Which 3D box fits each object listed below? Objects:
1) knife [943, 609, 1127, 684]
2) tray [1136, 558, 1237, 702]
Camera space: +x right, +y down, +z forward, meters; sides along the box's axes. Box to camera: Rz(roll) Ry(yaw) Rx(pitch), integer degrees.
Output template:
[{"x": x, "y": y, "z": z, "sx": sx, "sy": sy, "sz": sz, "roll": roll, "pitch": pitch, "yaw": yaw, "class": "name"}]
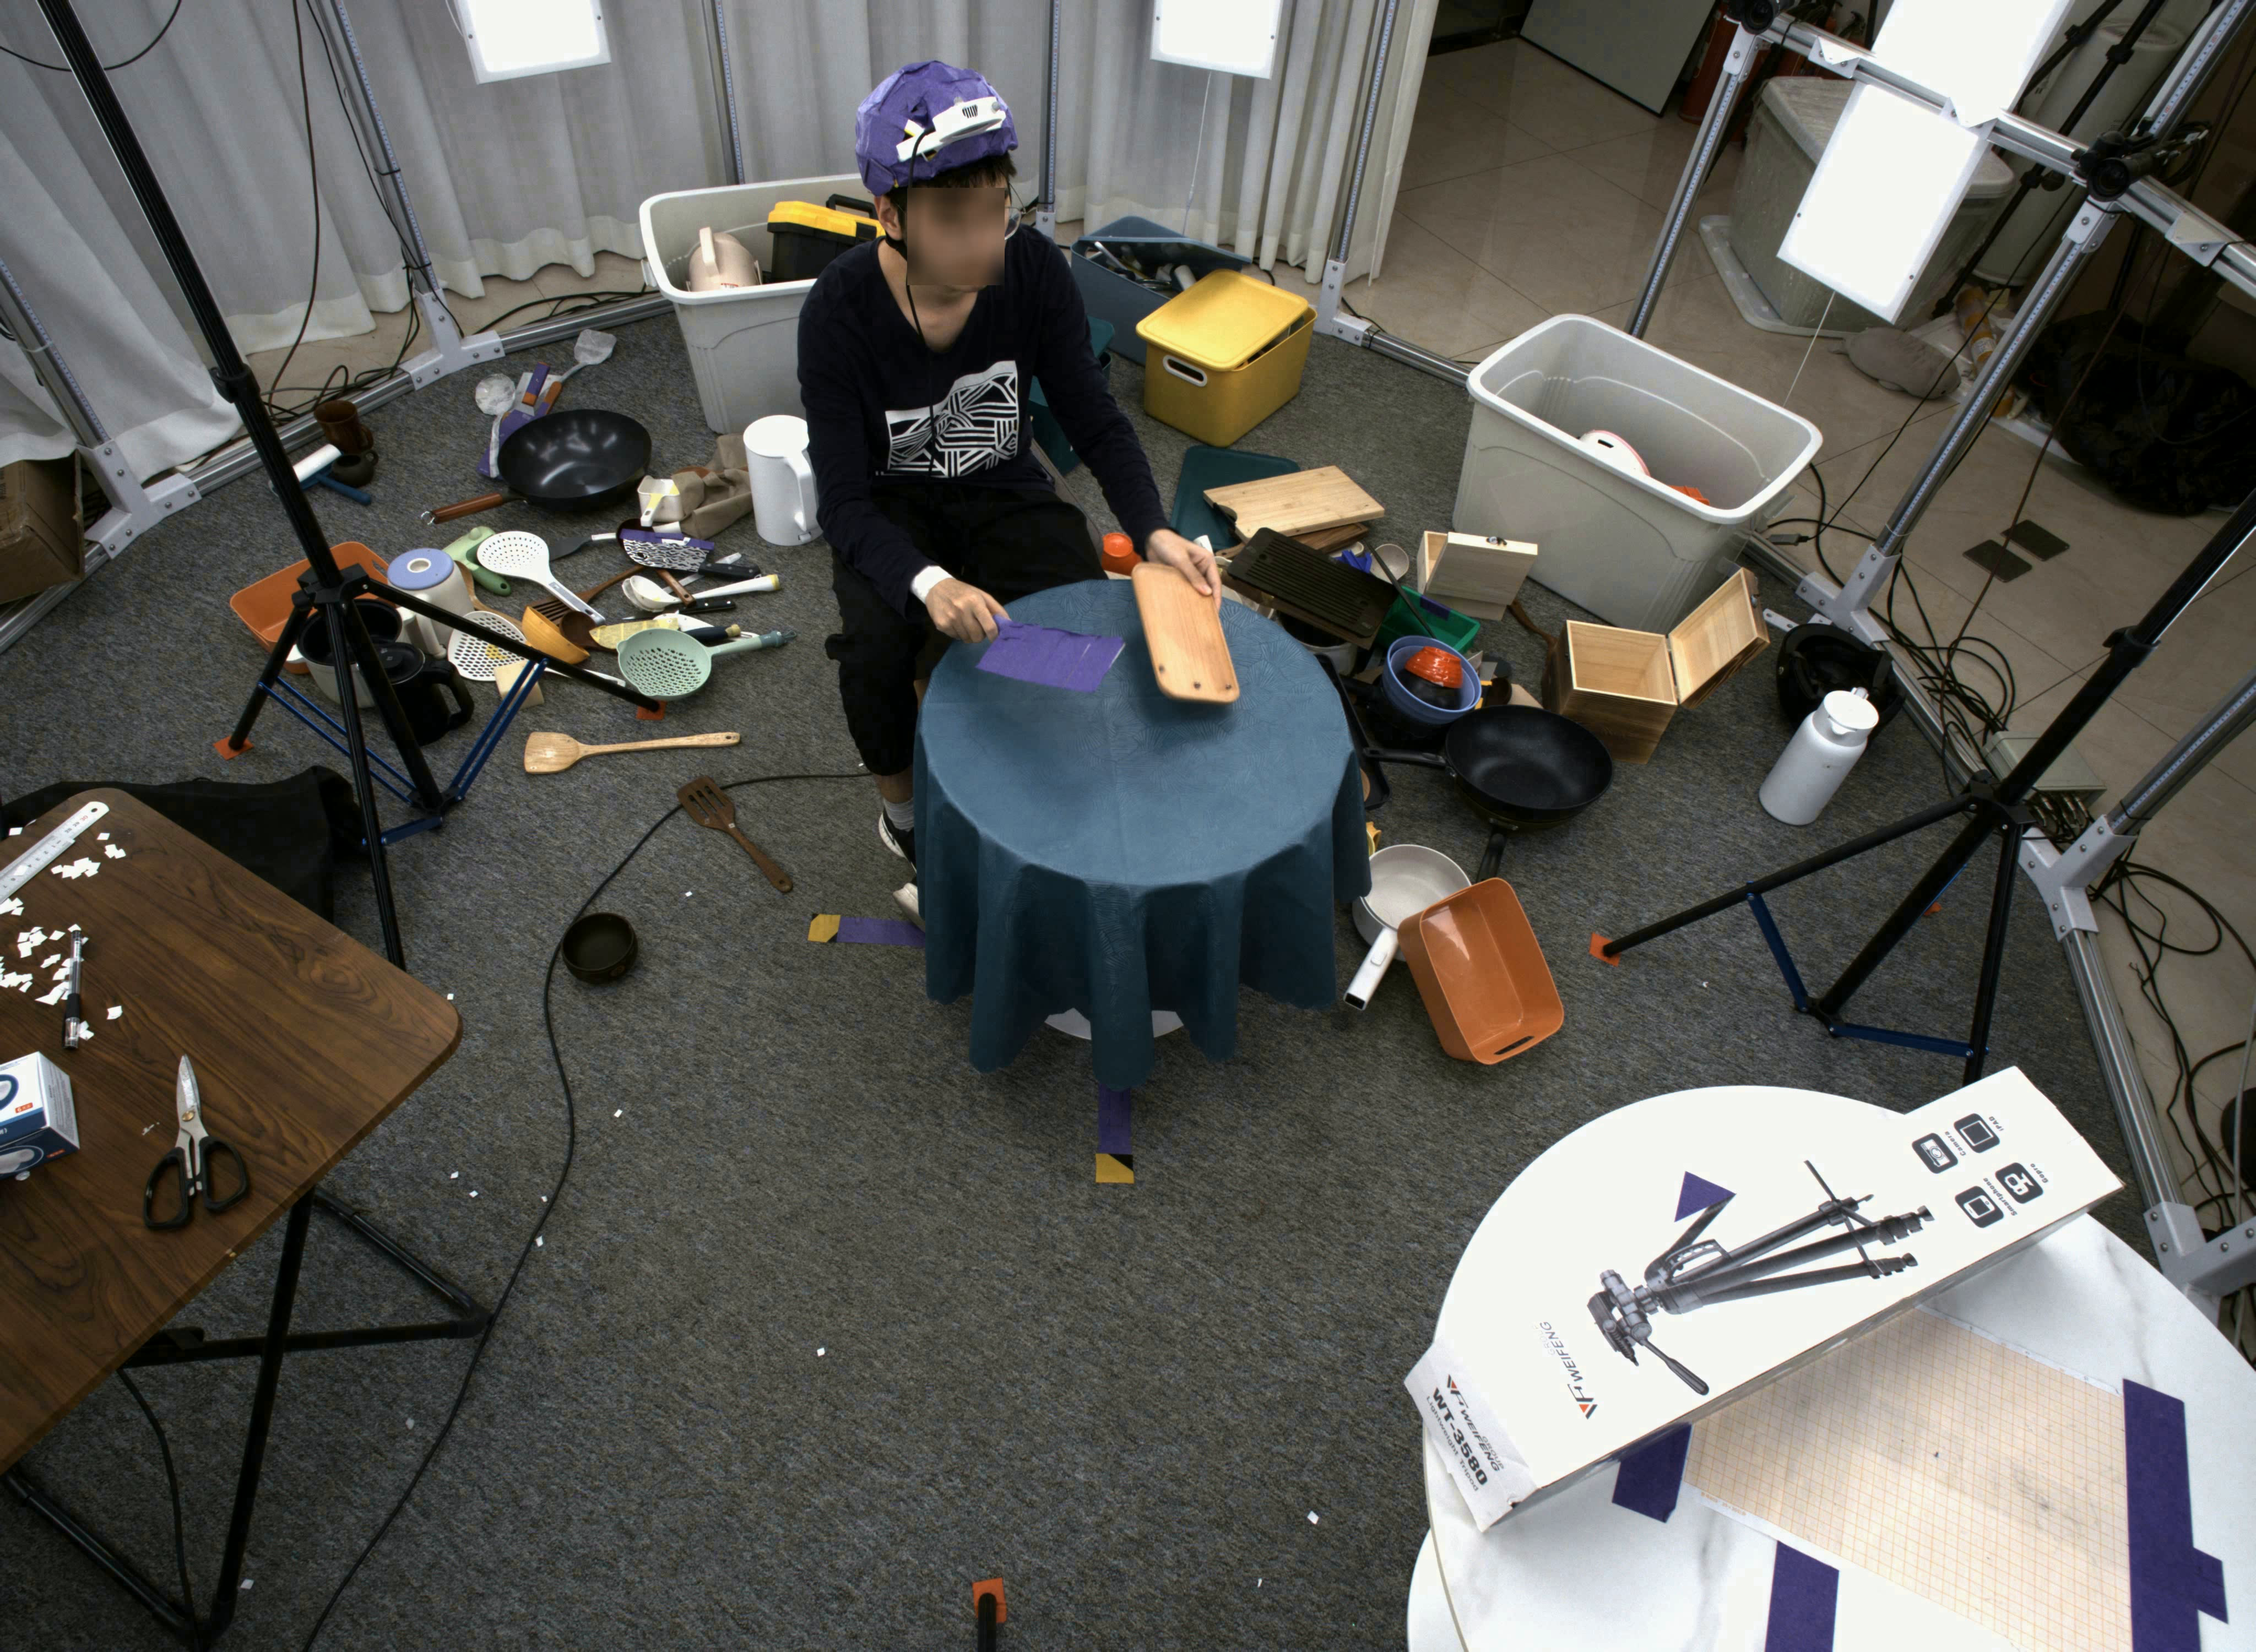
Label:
[{"x": -0.147, "y": -0.243, "z": 1.732, "sx": 0.318, "sy": 0.031, "sz": 0.105, "roll": 13, "pitch": 60, "yaw": 37, "class": "knife"}, {"x": 0.081, "y": -0.281, "z": 1.833, "sx": 0.129, "sy": 0.022, "sz": 0.257, "roll": 12, "pitch": 49, "yaw": -25, "class": "tray"}]
